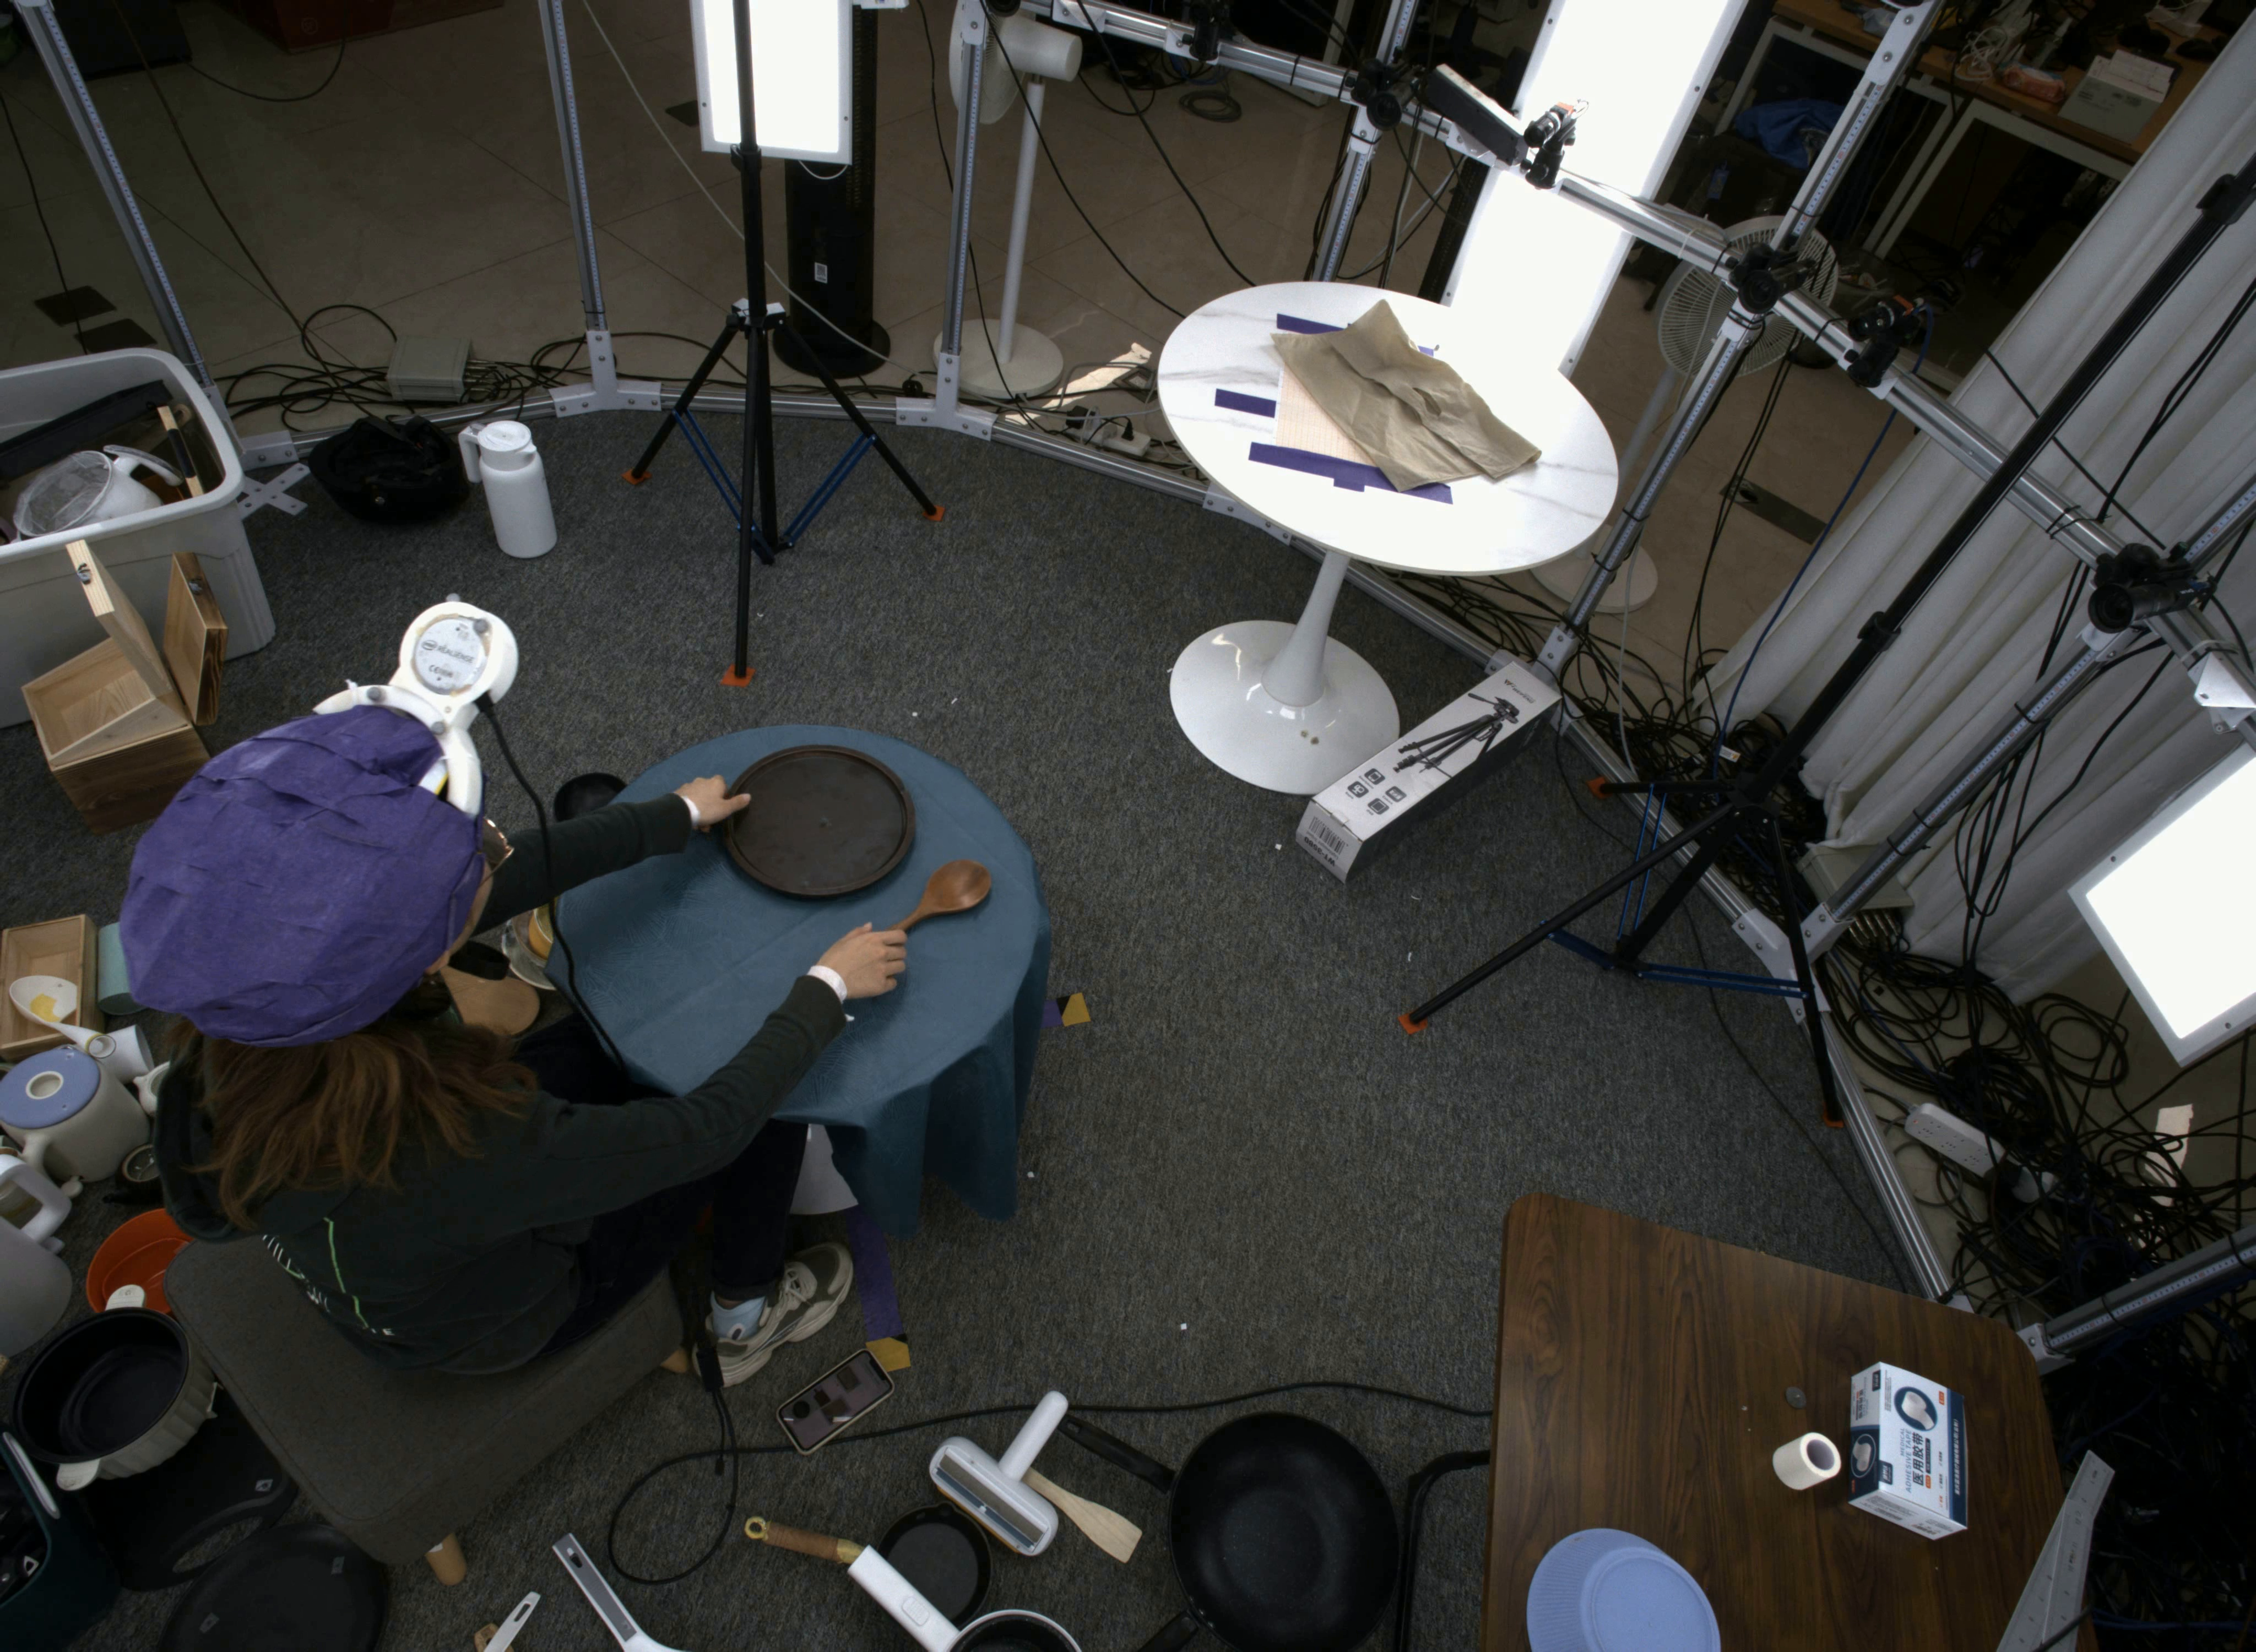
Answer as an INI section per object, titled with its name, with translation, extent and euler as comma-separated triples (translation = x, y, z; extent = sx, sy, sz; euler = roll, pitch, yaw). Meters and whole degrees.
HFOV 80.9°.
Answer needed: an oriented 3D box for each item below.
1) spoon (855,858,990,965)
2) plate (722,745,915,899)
[spoon]
translation = -0.266, 0.110, 1.677
extent = 0.074, 0.017, 0.216
euler = 41, 55, 16
[plate]
translation = -0.410, -0.008, 1.724
extent = 0.254, 0.029, 0.250
euler = 8, 51, -9
